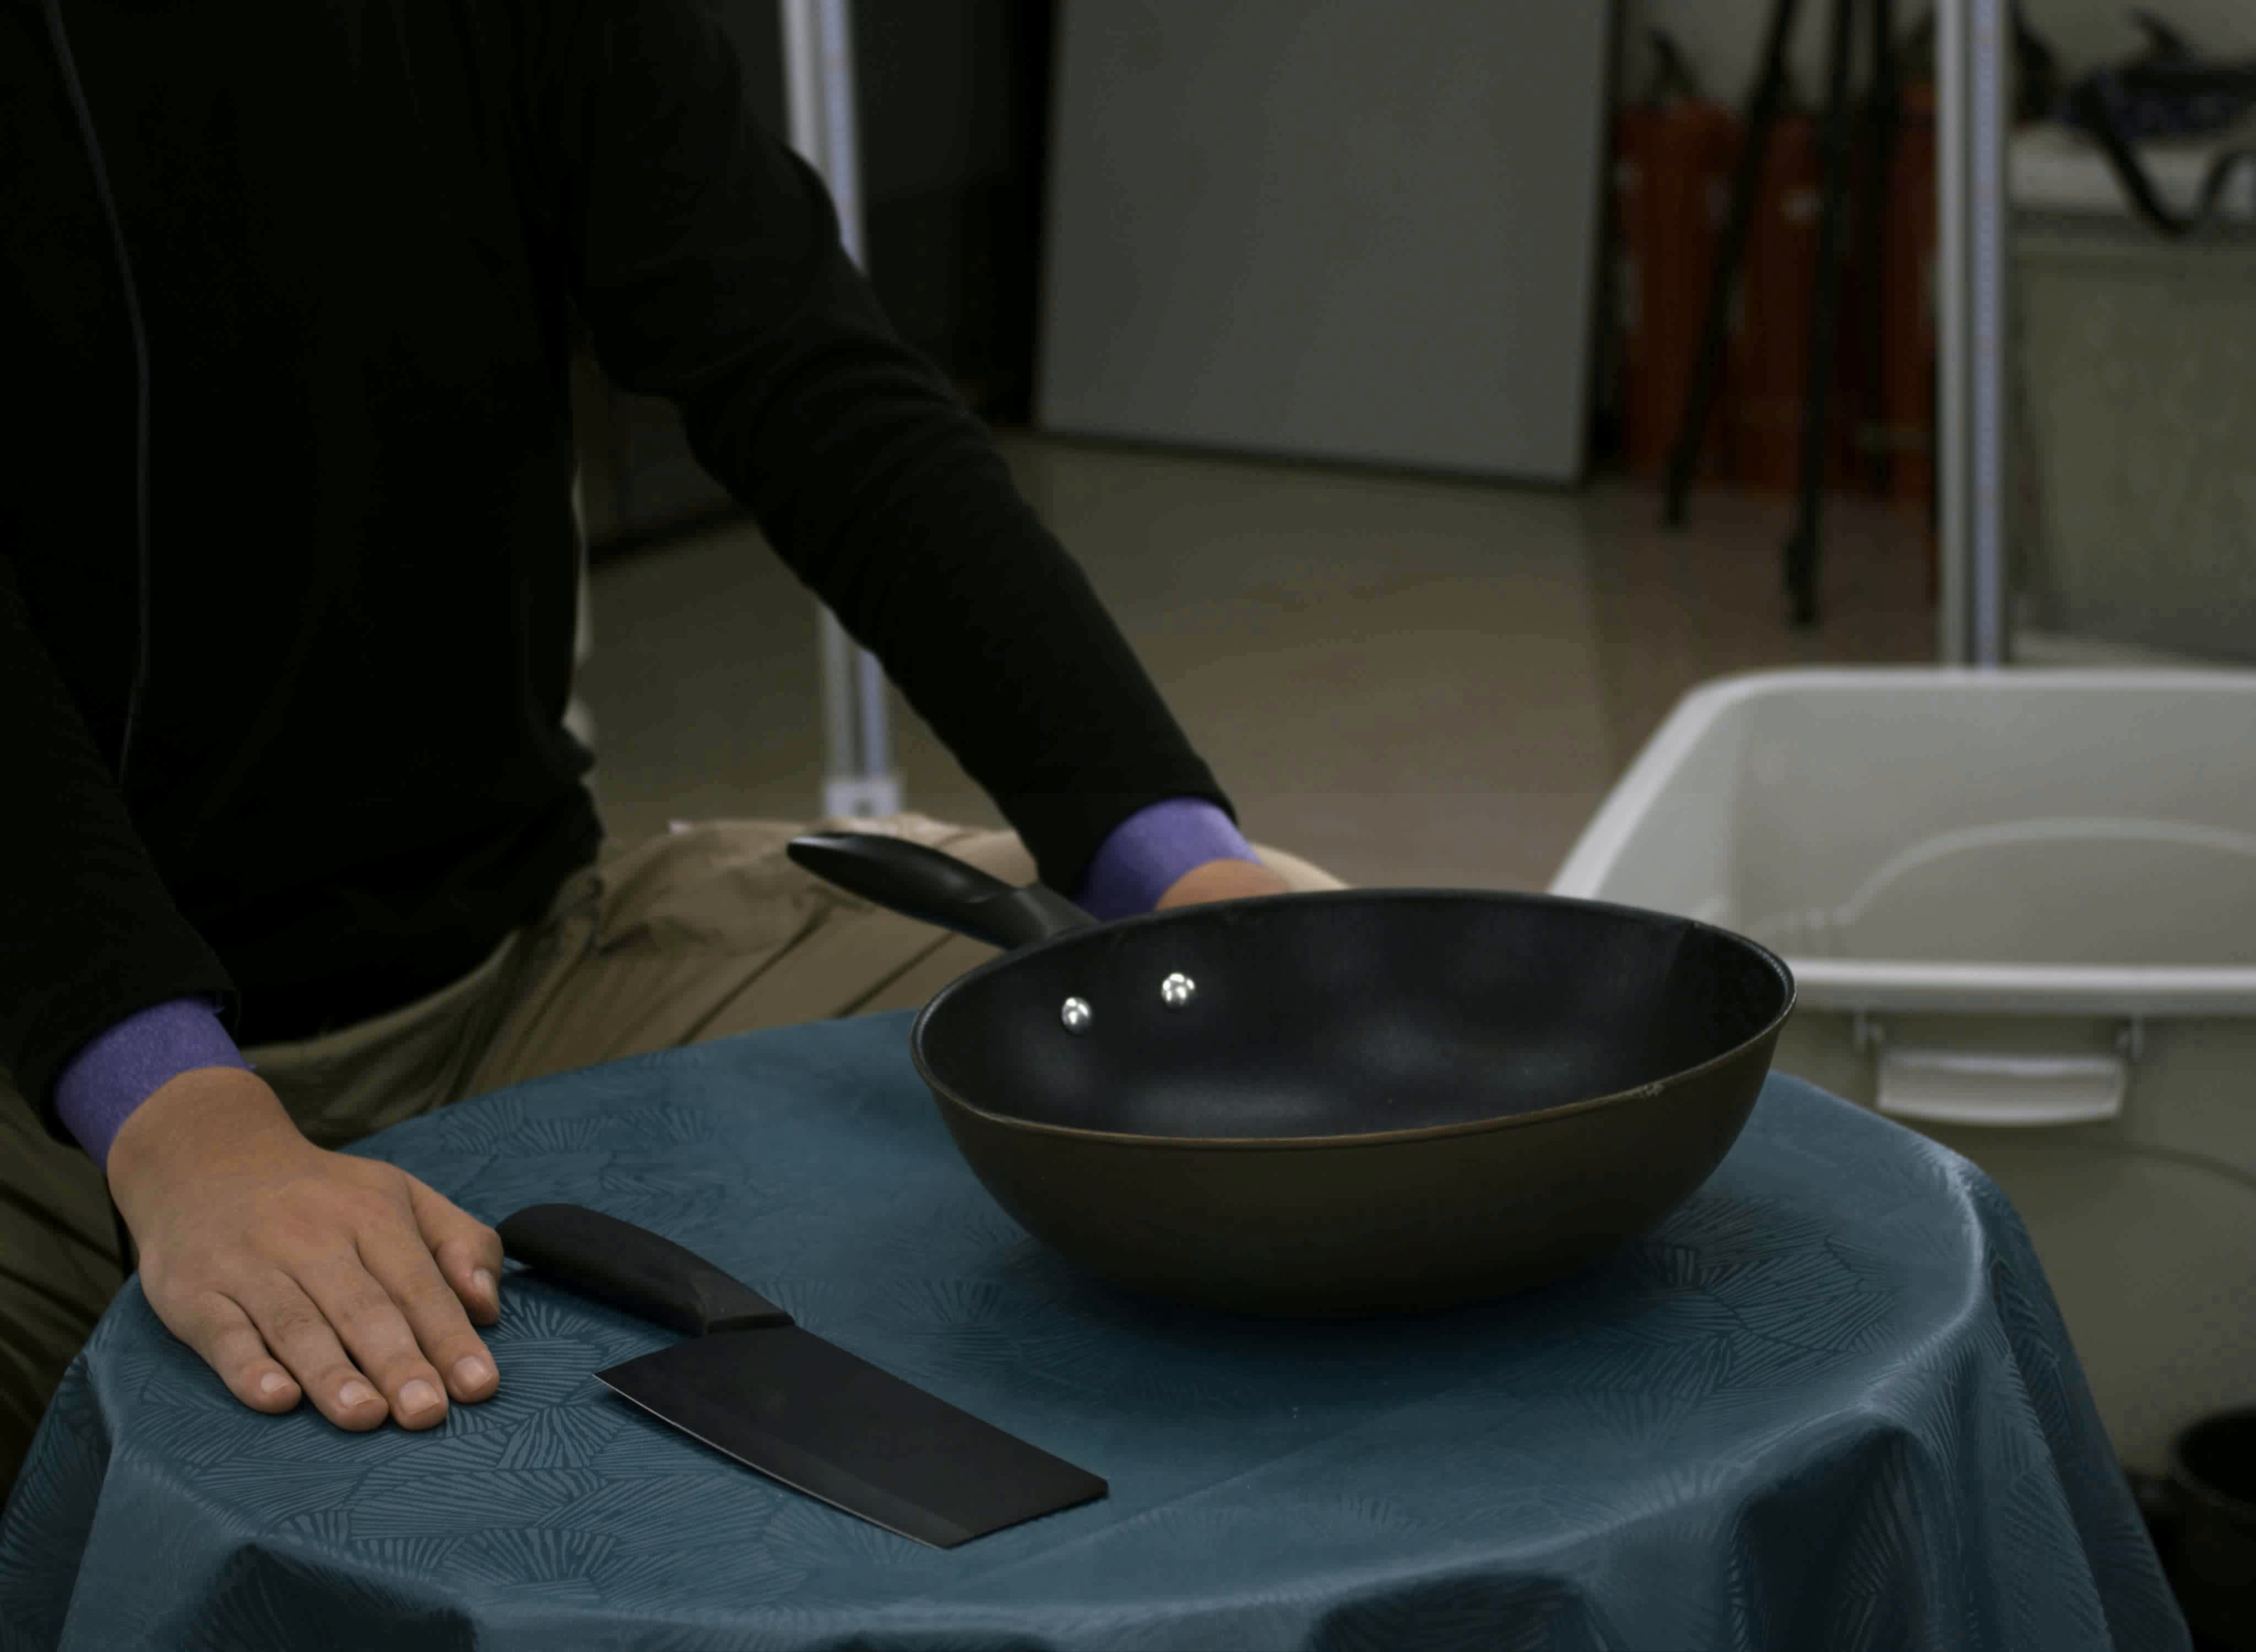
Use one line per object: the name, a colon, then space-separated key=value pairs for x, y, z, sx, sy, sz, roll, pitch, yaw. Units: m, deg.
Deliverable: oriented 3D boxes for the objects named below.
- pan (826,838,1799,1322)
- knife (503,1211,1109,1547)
pan: x=0.022 y=0.078 z=1.768 sx=0.282 sy=0.088 sz=0.468 roll=-13 pitch=16 yaw=-31
knife: x=-0.111 y=0.163 z=1.612 sx=0.079 sy=0.021 sz=0.305 roll=-13 pitch=18 yaw=-28
